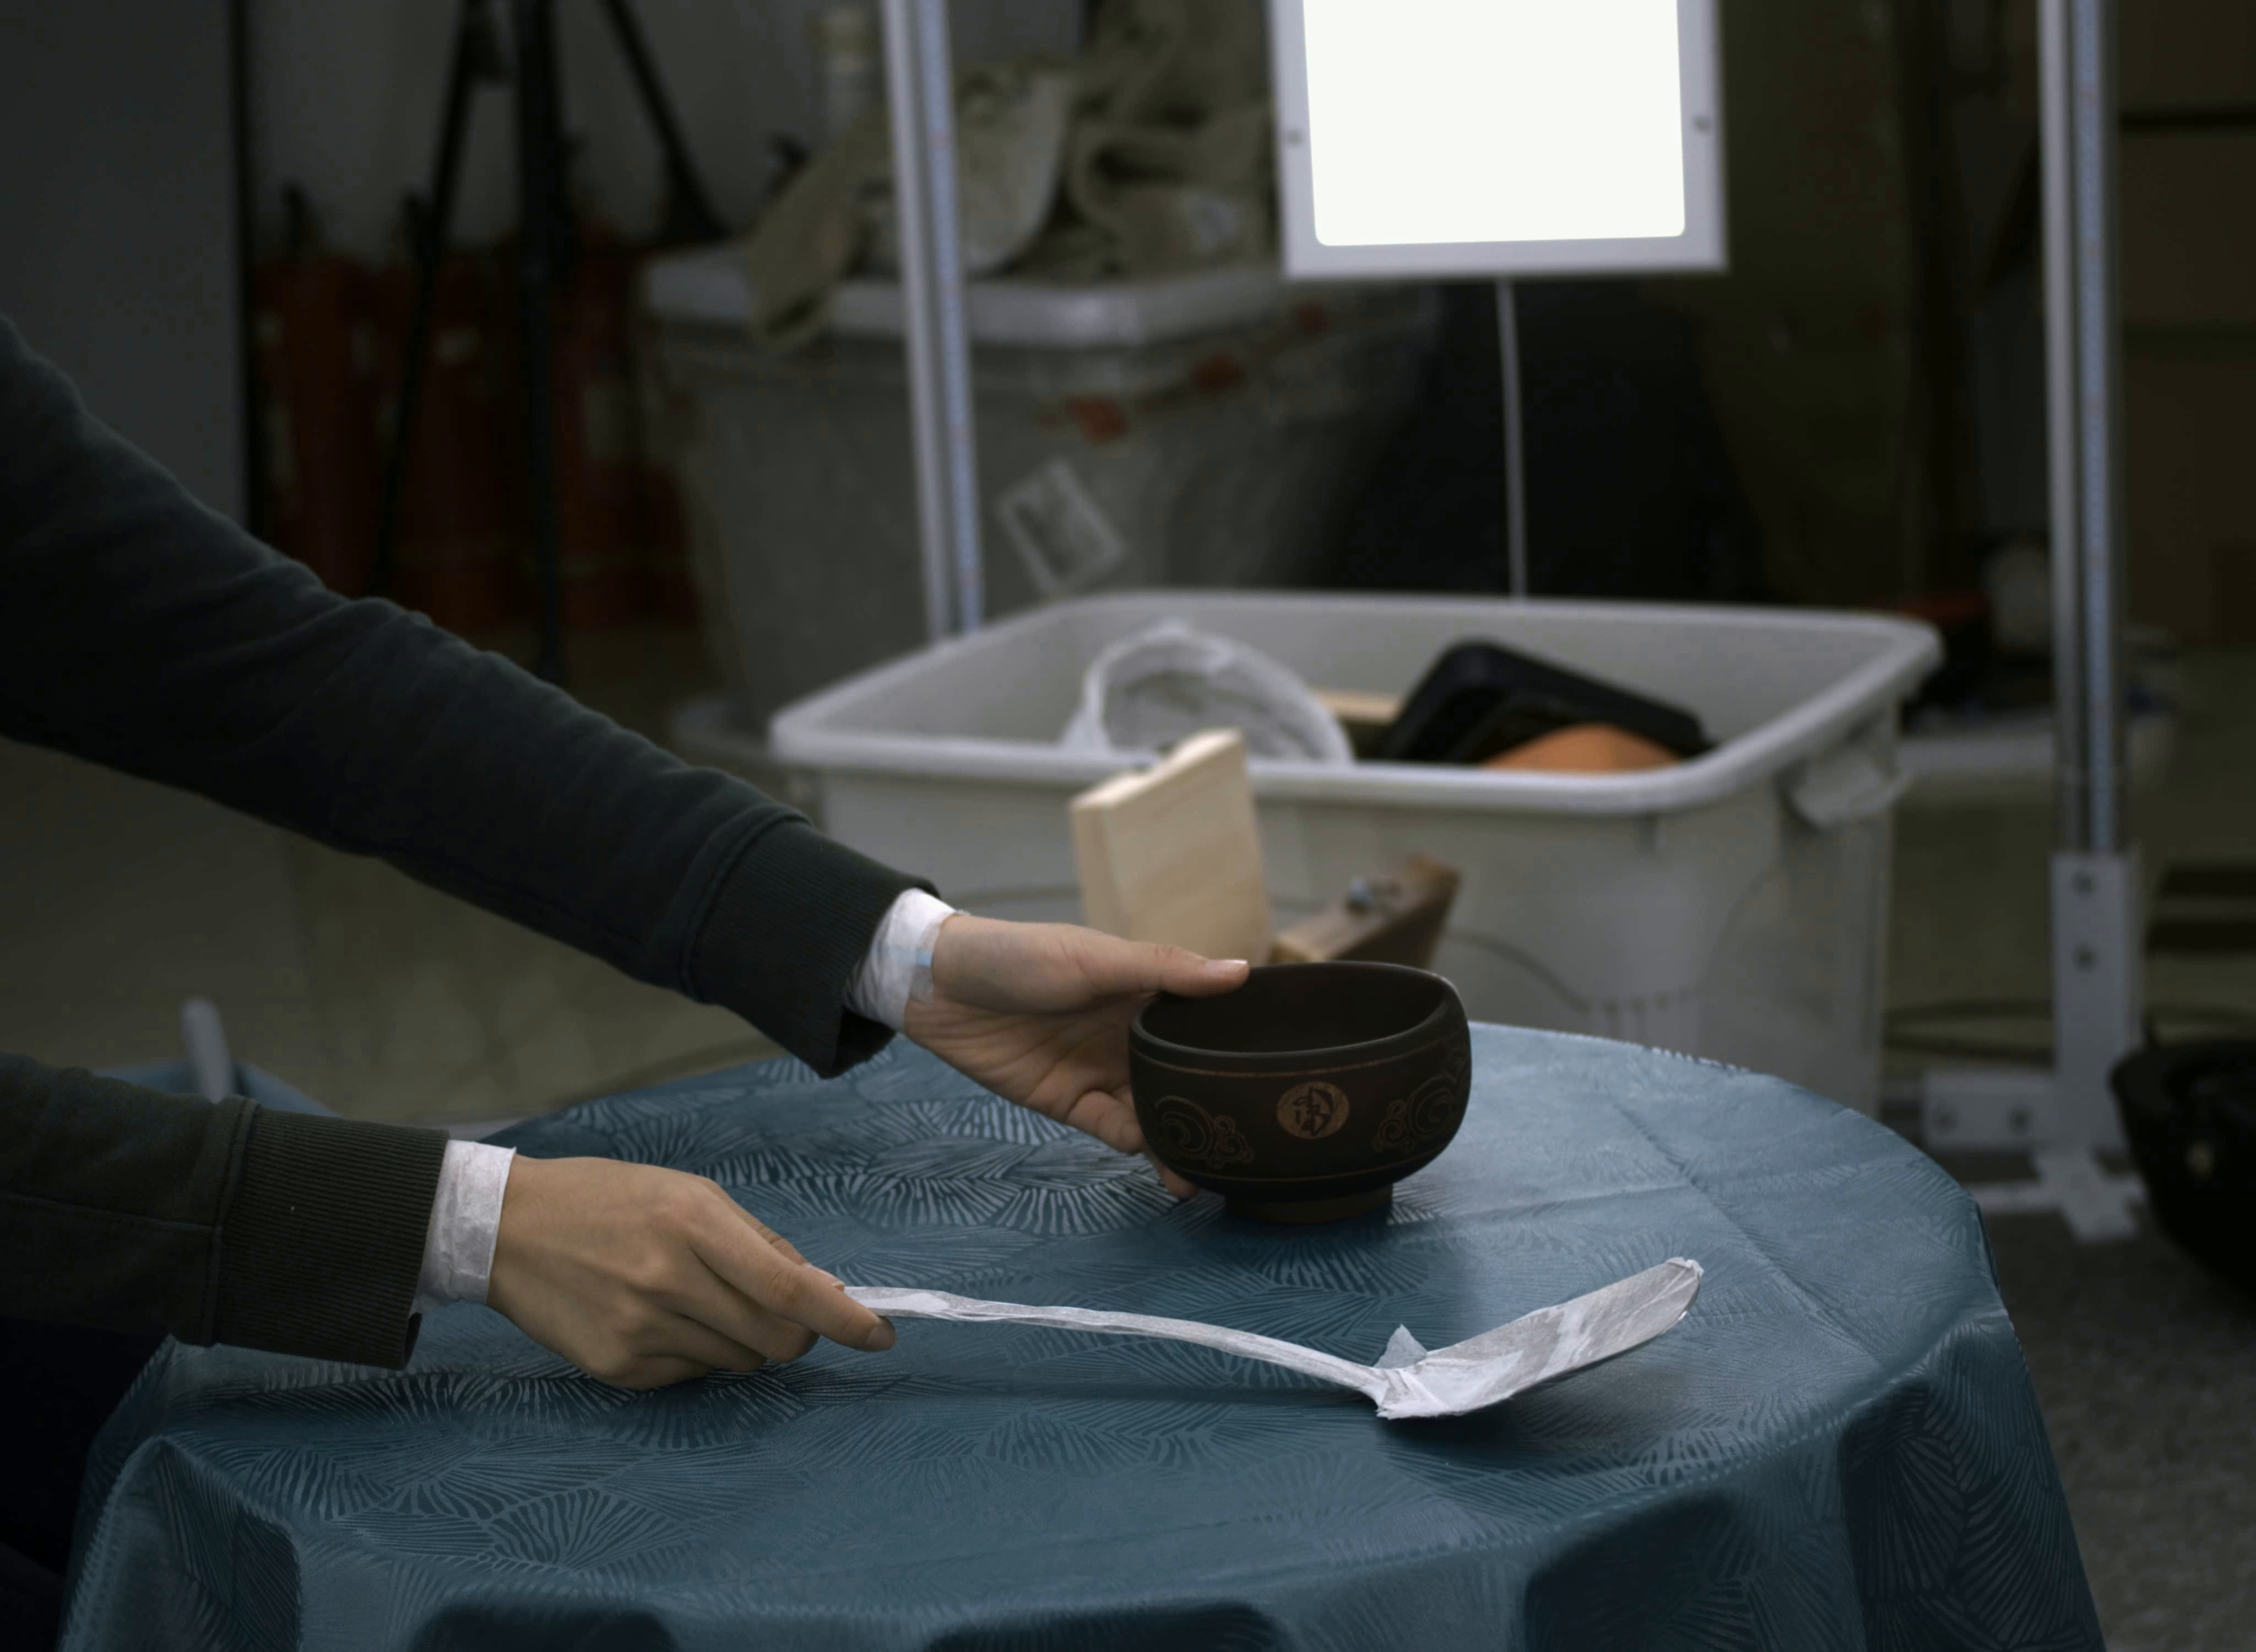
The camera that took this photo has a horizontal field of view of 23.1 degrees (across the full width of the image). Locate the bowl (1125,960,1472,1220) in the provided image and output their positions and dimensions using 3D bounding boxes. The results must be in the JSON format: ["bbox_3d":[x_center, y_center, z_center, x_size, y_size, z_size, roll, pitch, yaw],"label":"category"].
[{"bbox_3d":[0.059,0.093,1.864,0.118,0.070,0.118,-5,12,0],"label":"bowl"}]

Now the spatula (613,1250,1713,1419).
[{"bbox_3d":[0.000,0.149,1.704,0.370,0.045,0.097,4,17,21],"label":"spatula"}]
